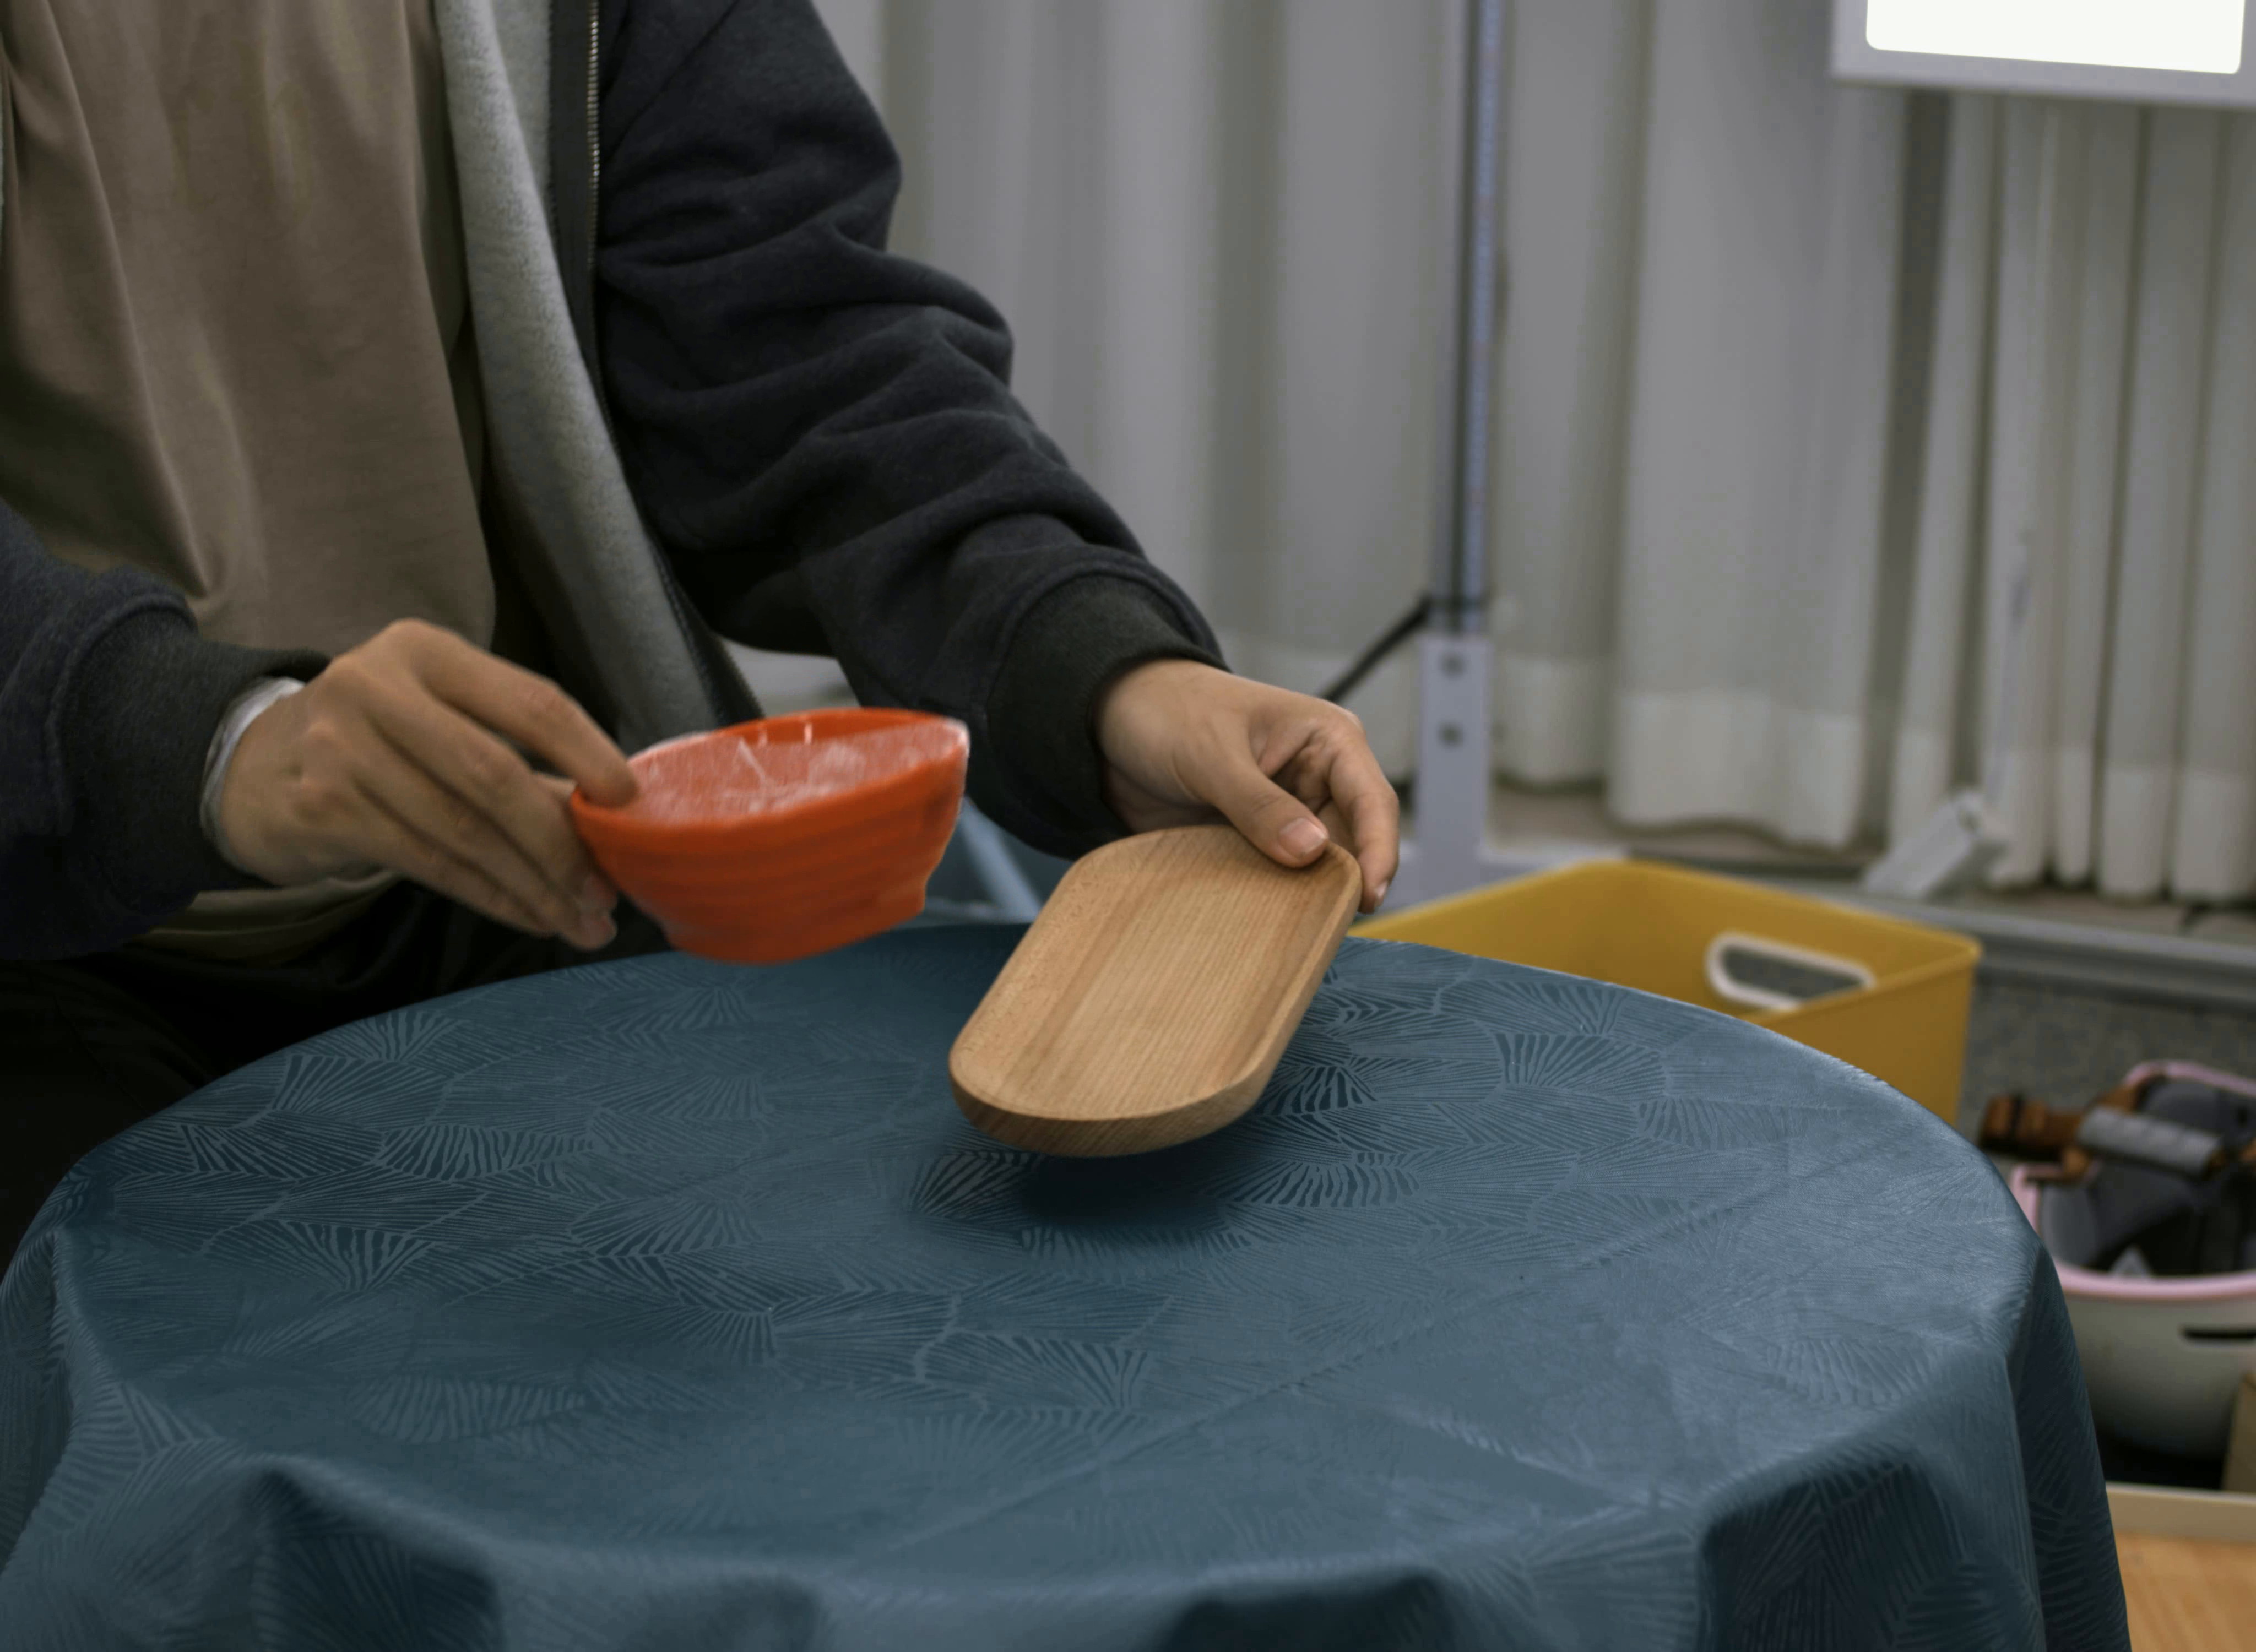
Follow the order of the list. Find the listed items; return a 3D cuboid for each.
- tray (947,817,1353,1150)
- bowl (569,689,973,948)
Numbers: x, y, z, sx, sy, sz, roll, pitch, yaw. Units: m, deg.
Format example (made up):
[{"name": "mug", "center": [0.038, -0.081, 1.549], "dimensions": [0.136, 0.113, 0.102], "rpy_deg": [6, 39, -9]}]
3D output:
[{"name": "tray", "center": [0.009, 0.048, 1.686], "dimensions": [0.101, 0.020, 0.230], "rpy_deg": [3, 22, 13]}, {"name": "bowl", "center": [-0.099, 0.000, 1.525], "dimensions": [0.118, 0.052, 0.118], "rpy_deg": [-9, 16, 3]}]
